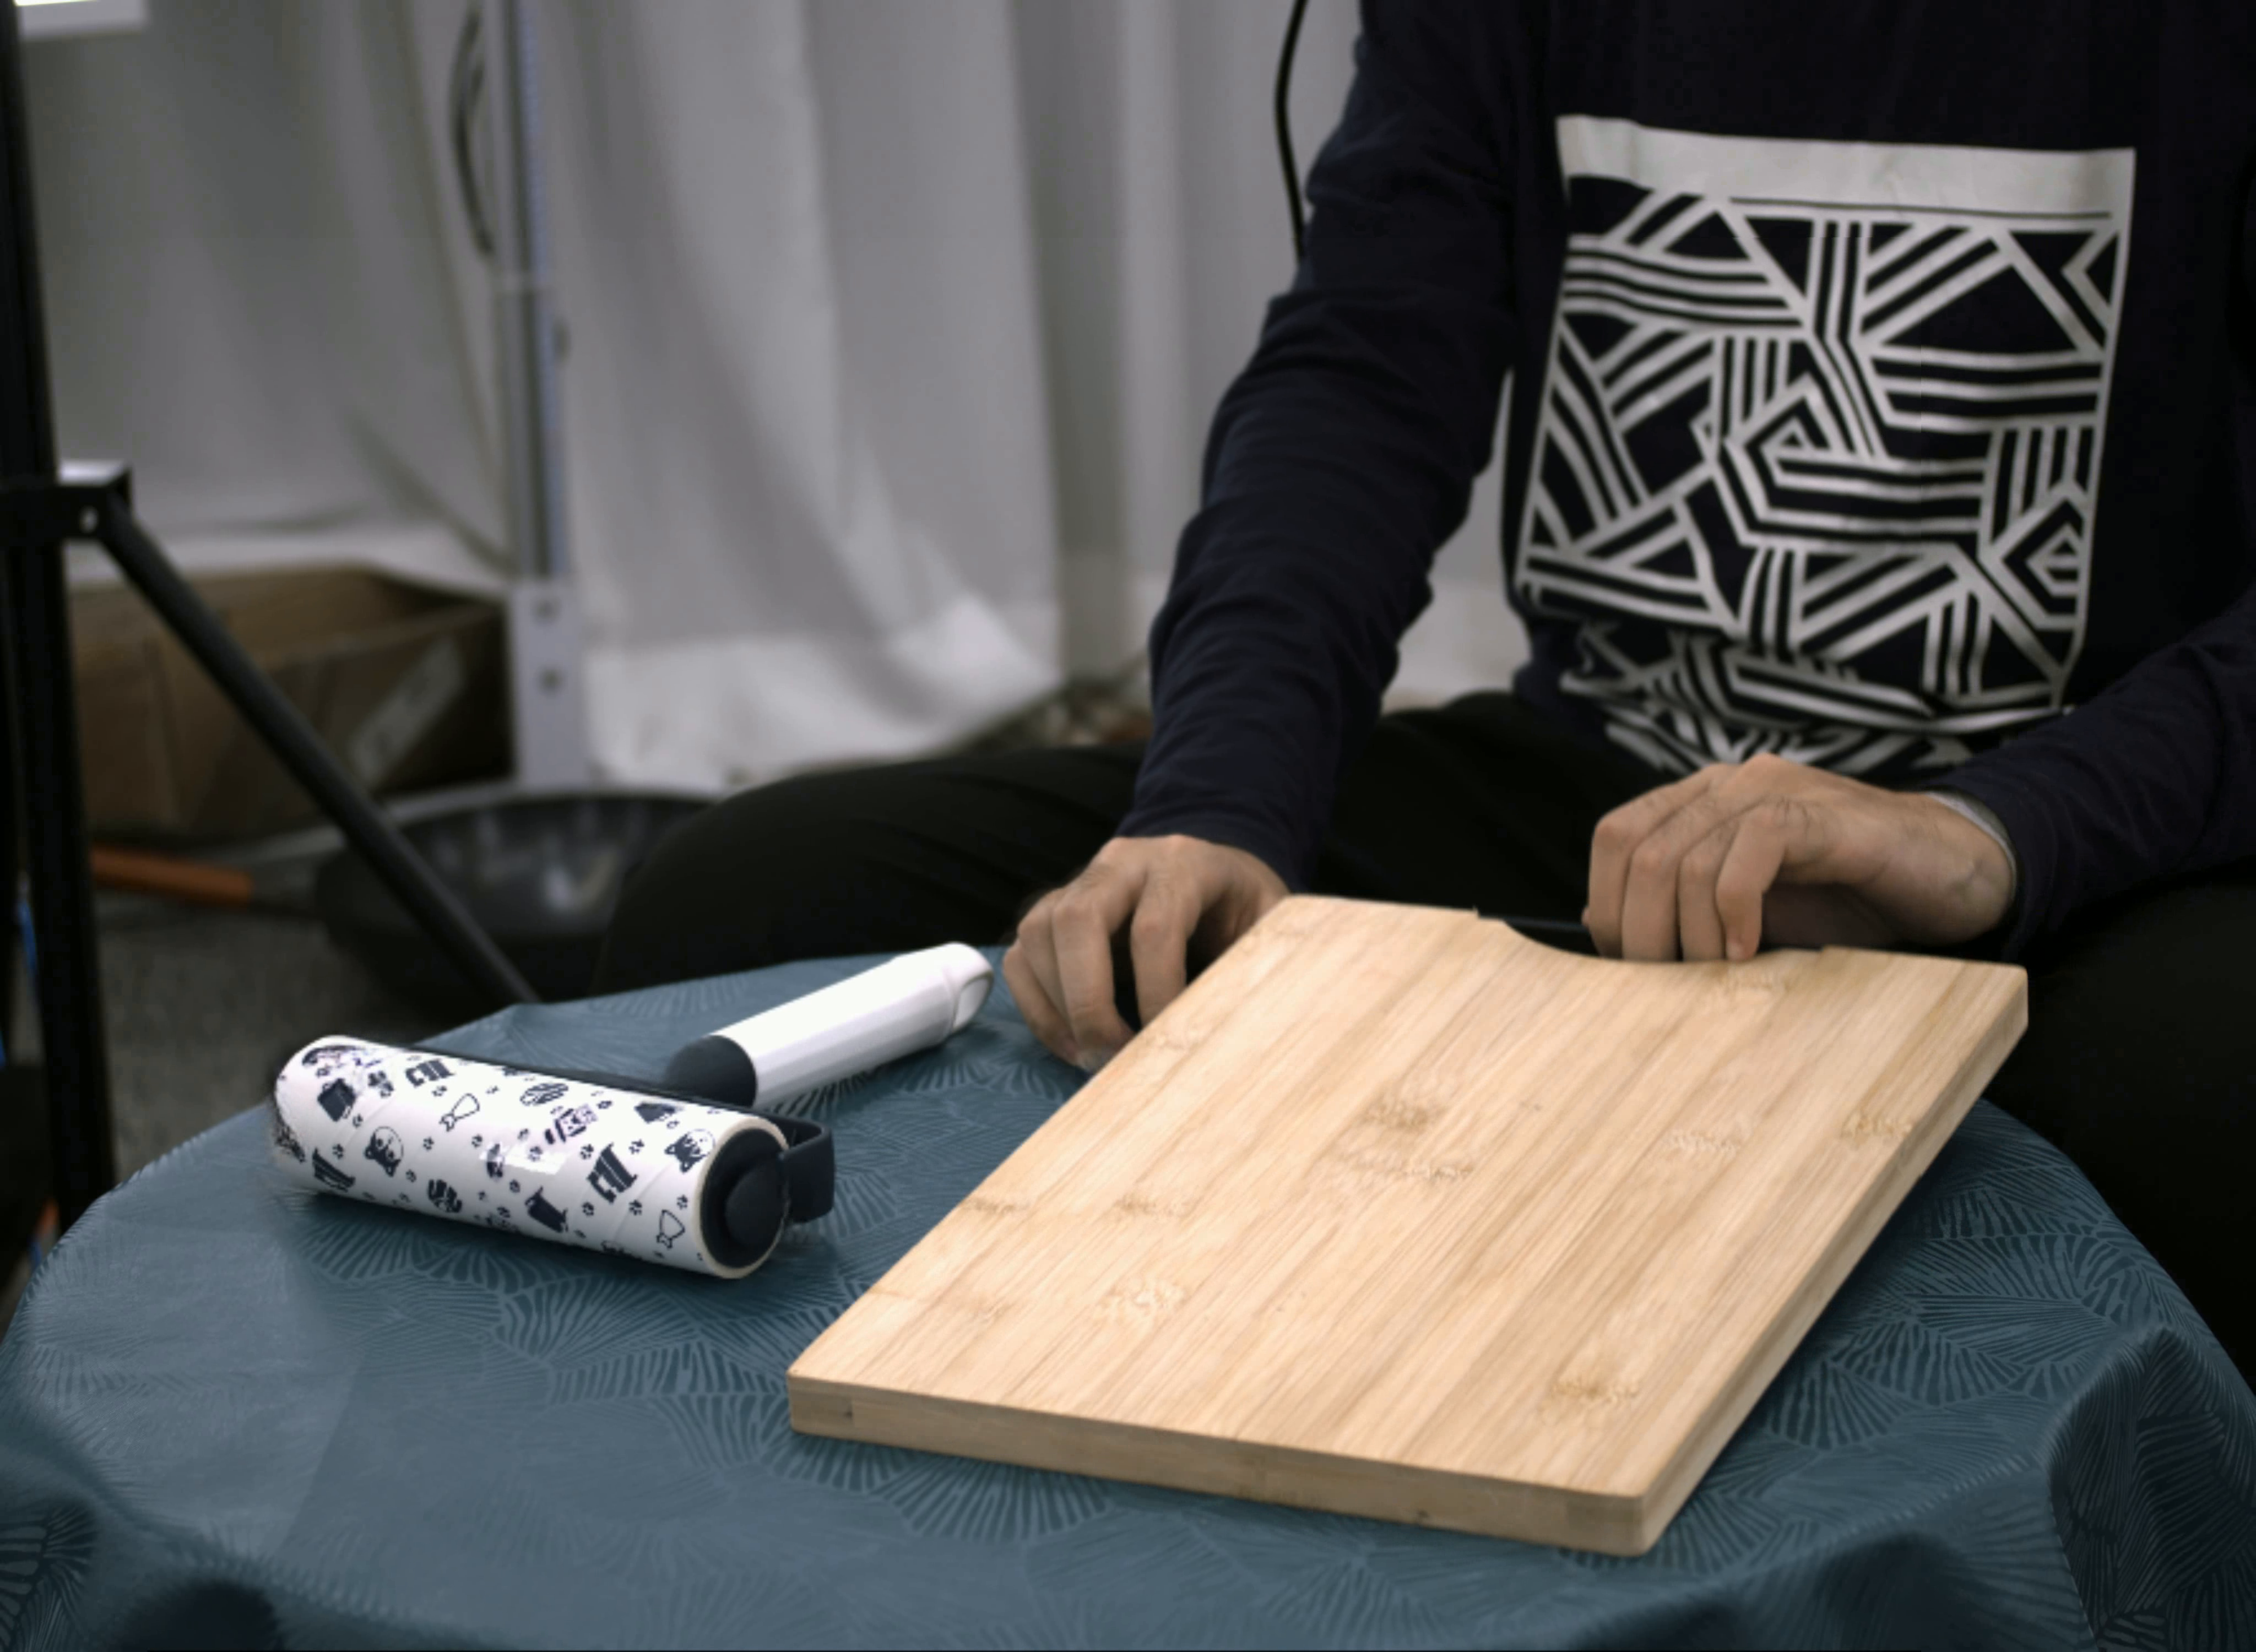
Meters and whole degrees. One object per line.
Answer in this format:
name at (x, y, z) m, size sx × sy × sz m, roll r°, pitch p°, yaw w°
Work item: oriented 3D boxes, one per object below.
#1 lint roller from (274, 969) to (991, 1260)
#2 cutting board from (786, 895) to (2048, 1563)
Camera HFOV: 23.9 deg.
lint roller at (-0.119, 0.072, 1.630) m, size 0.180 × 0.050 × 0.242 m, roll 7°, pitch 16°, yaw 33°
cutting board at (0.091, 0.101, 1.481) m, size 0.254 × 0.023 × 0.344 m, roll 5°, pitch 23°, yaw 25°
